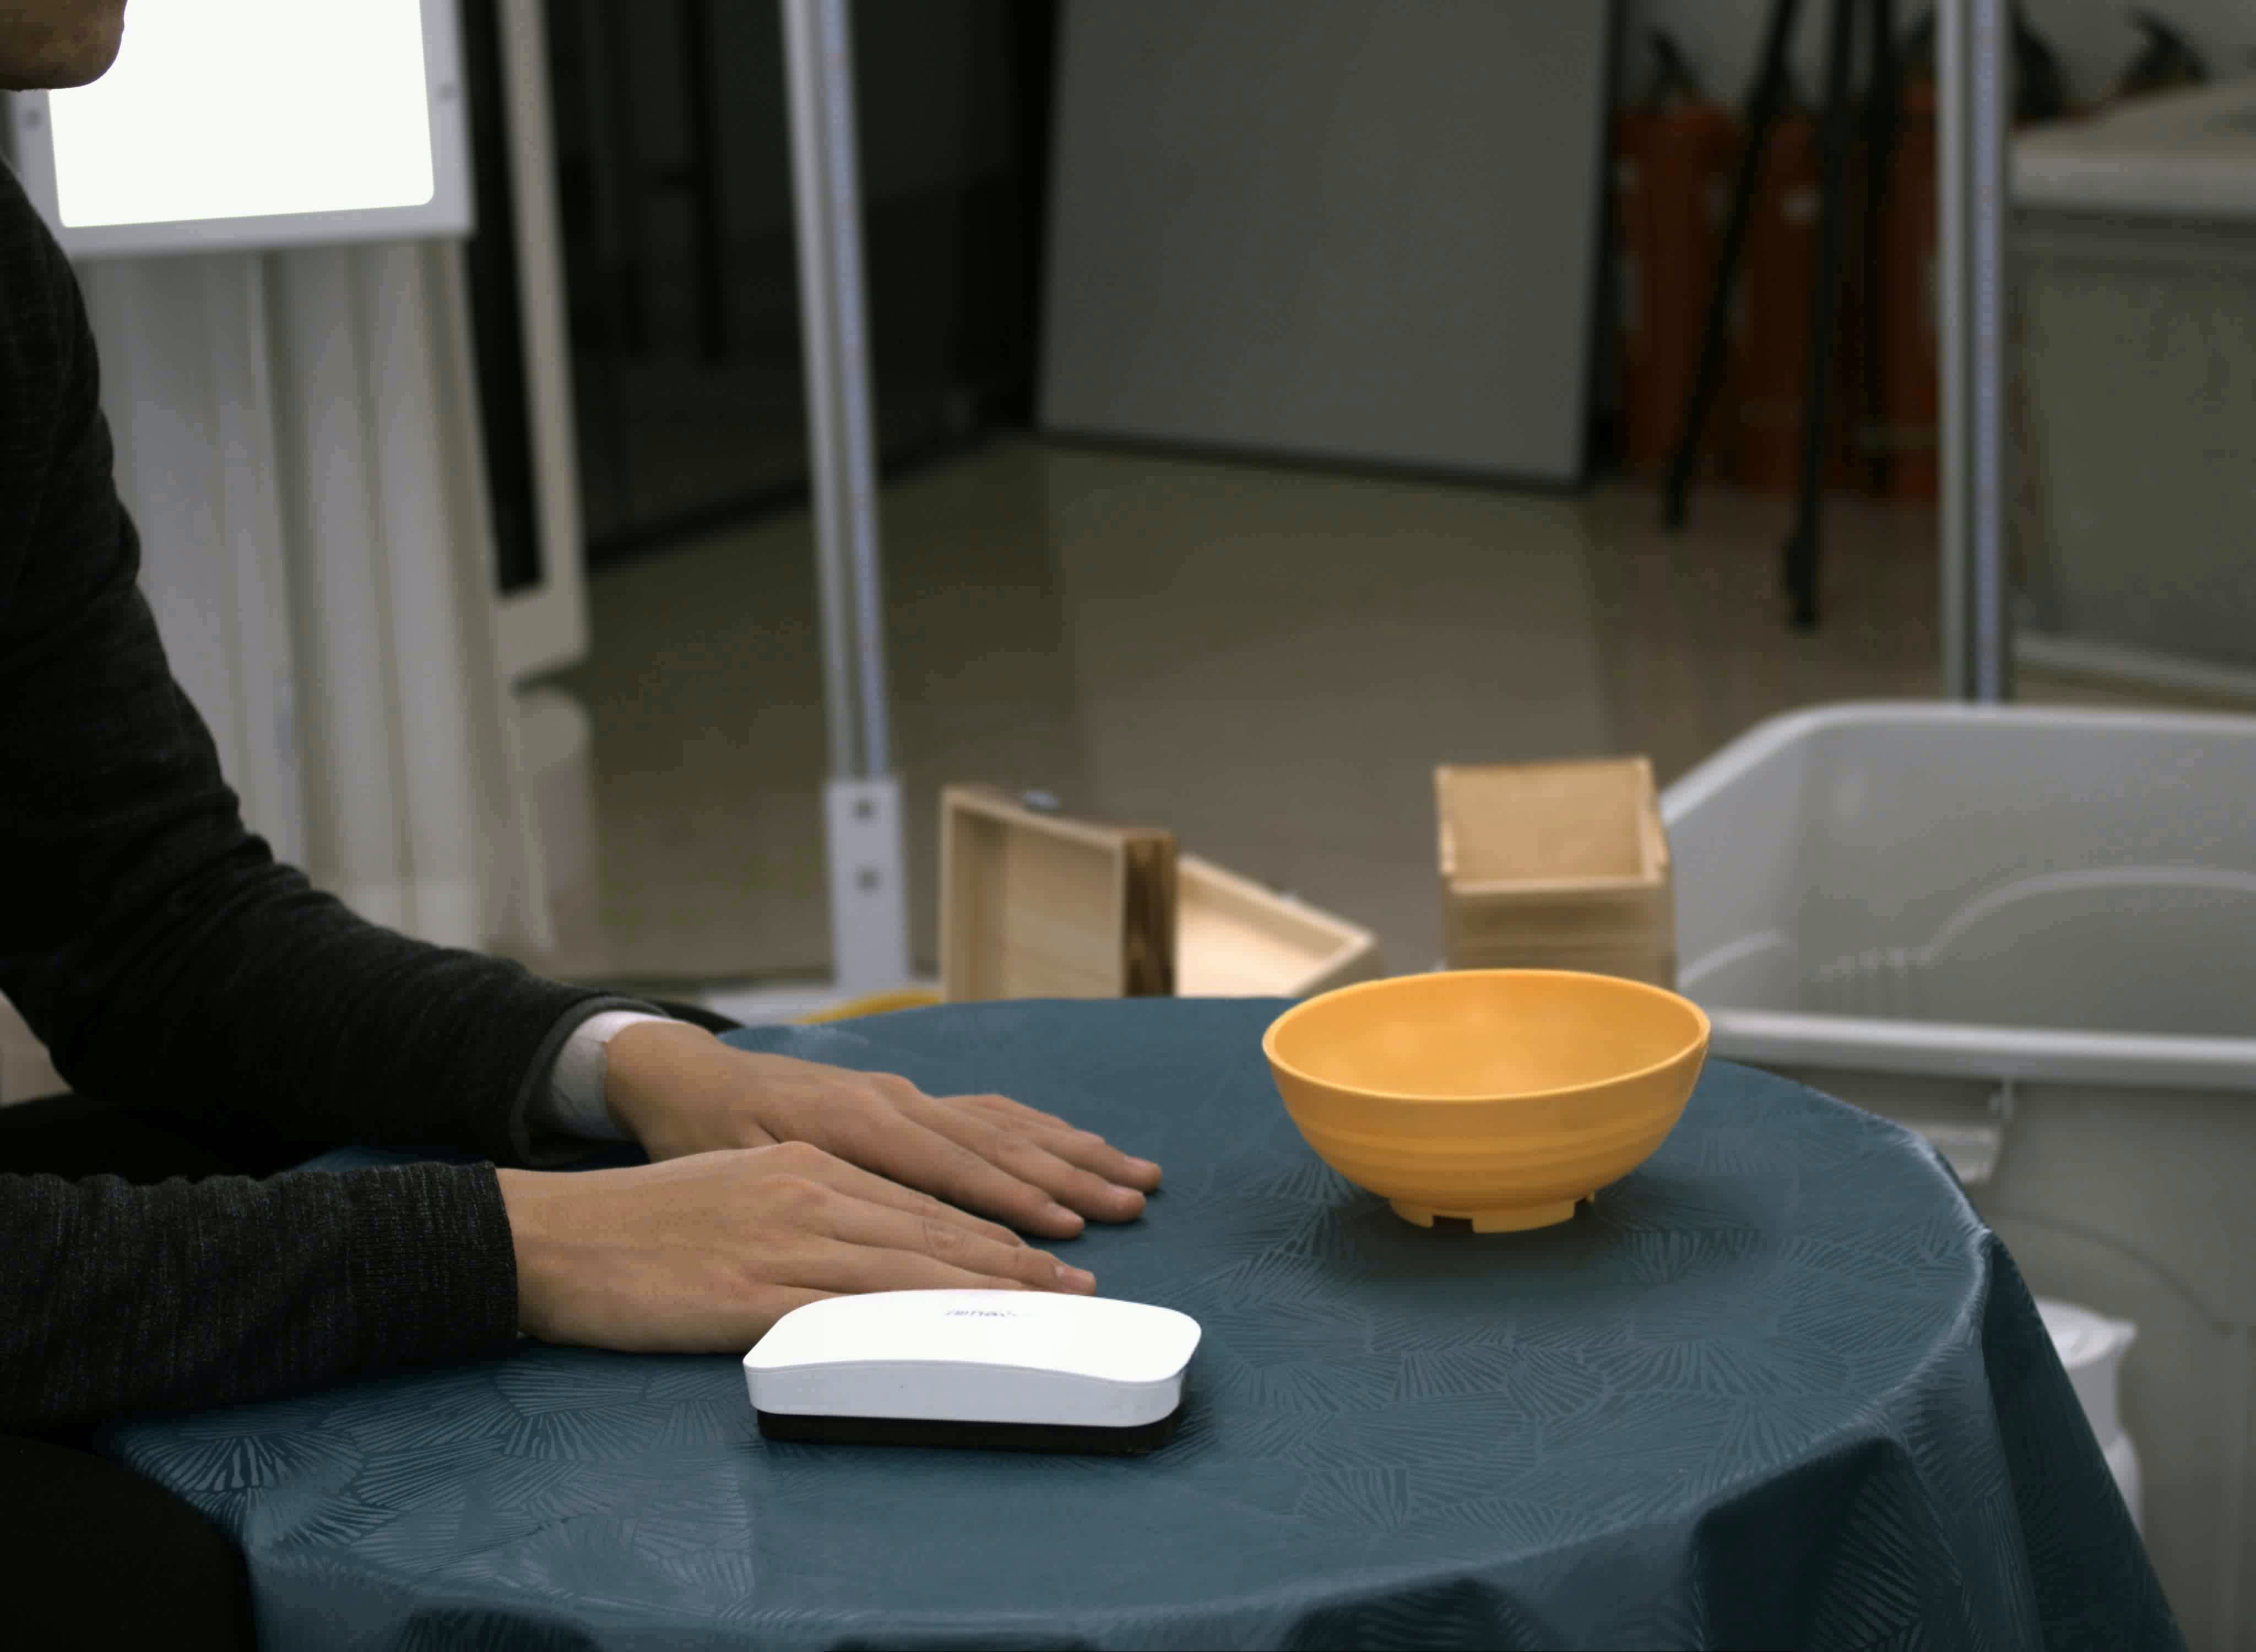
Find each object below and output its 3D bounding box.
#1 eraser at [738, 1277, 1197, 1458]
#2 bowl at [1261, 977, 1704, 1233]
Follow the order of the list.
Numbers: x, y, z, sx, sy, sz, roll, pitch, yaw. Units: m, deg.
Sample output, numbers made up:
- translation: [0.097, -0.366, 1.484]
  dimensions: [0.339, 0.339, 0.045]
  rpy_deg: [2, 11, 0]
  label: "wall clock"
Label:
- translation: [-0.046, 0.158, 1.569]
  dimensions: [0.131, 0.035, 0.063]
  rpy_deg: [1, 13, 17]
  label: "eraser"
- translation: [0.115, 0.093, 1.726]
  dimensions: [0.143, 0.061, 0.145]
  rpy_deg: [-4, 12, 0]
  label: "bowl"
